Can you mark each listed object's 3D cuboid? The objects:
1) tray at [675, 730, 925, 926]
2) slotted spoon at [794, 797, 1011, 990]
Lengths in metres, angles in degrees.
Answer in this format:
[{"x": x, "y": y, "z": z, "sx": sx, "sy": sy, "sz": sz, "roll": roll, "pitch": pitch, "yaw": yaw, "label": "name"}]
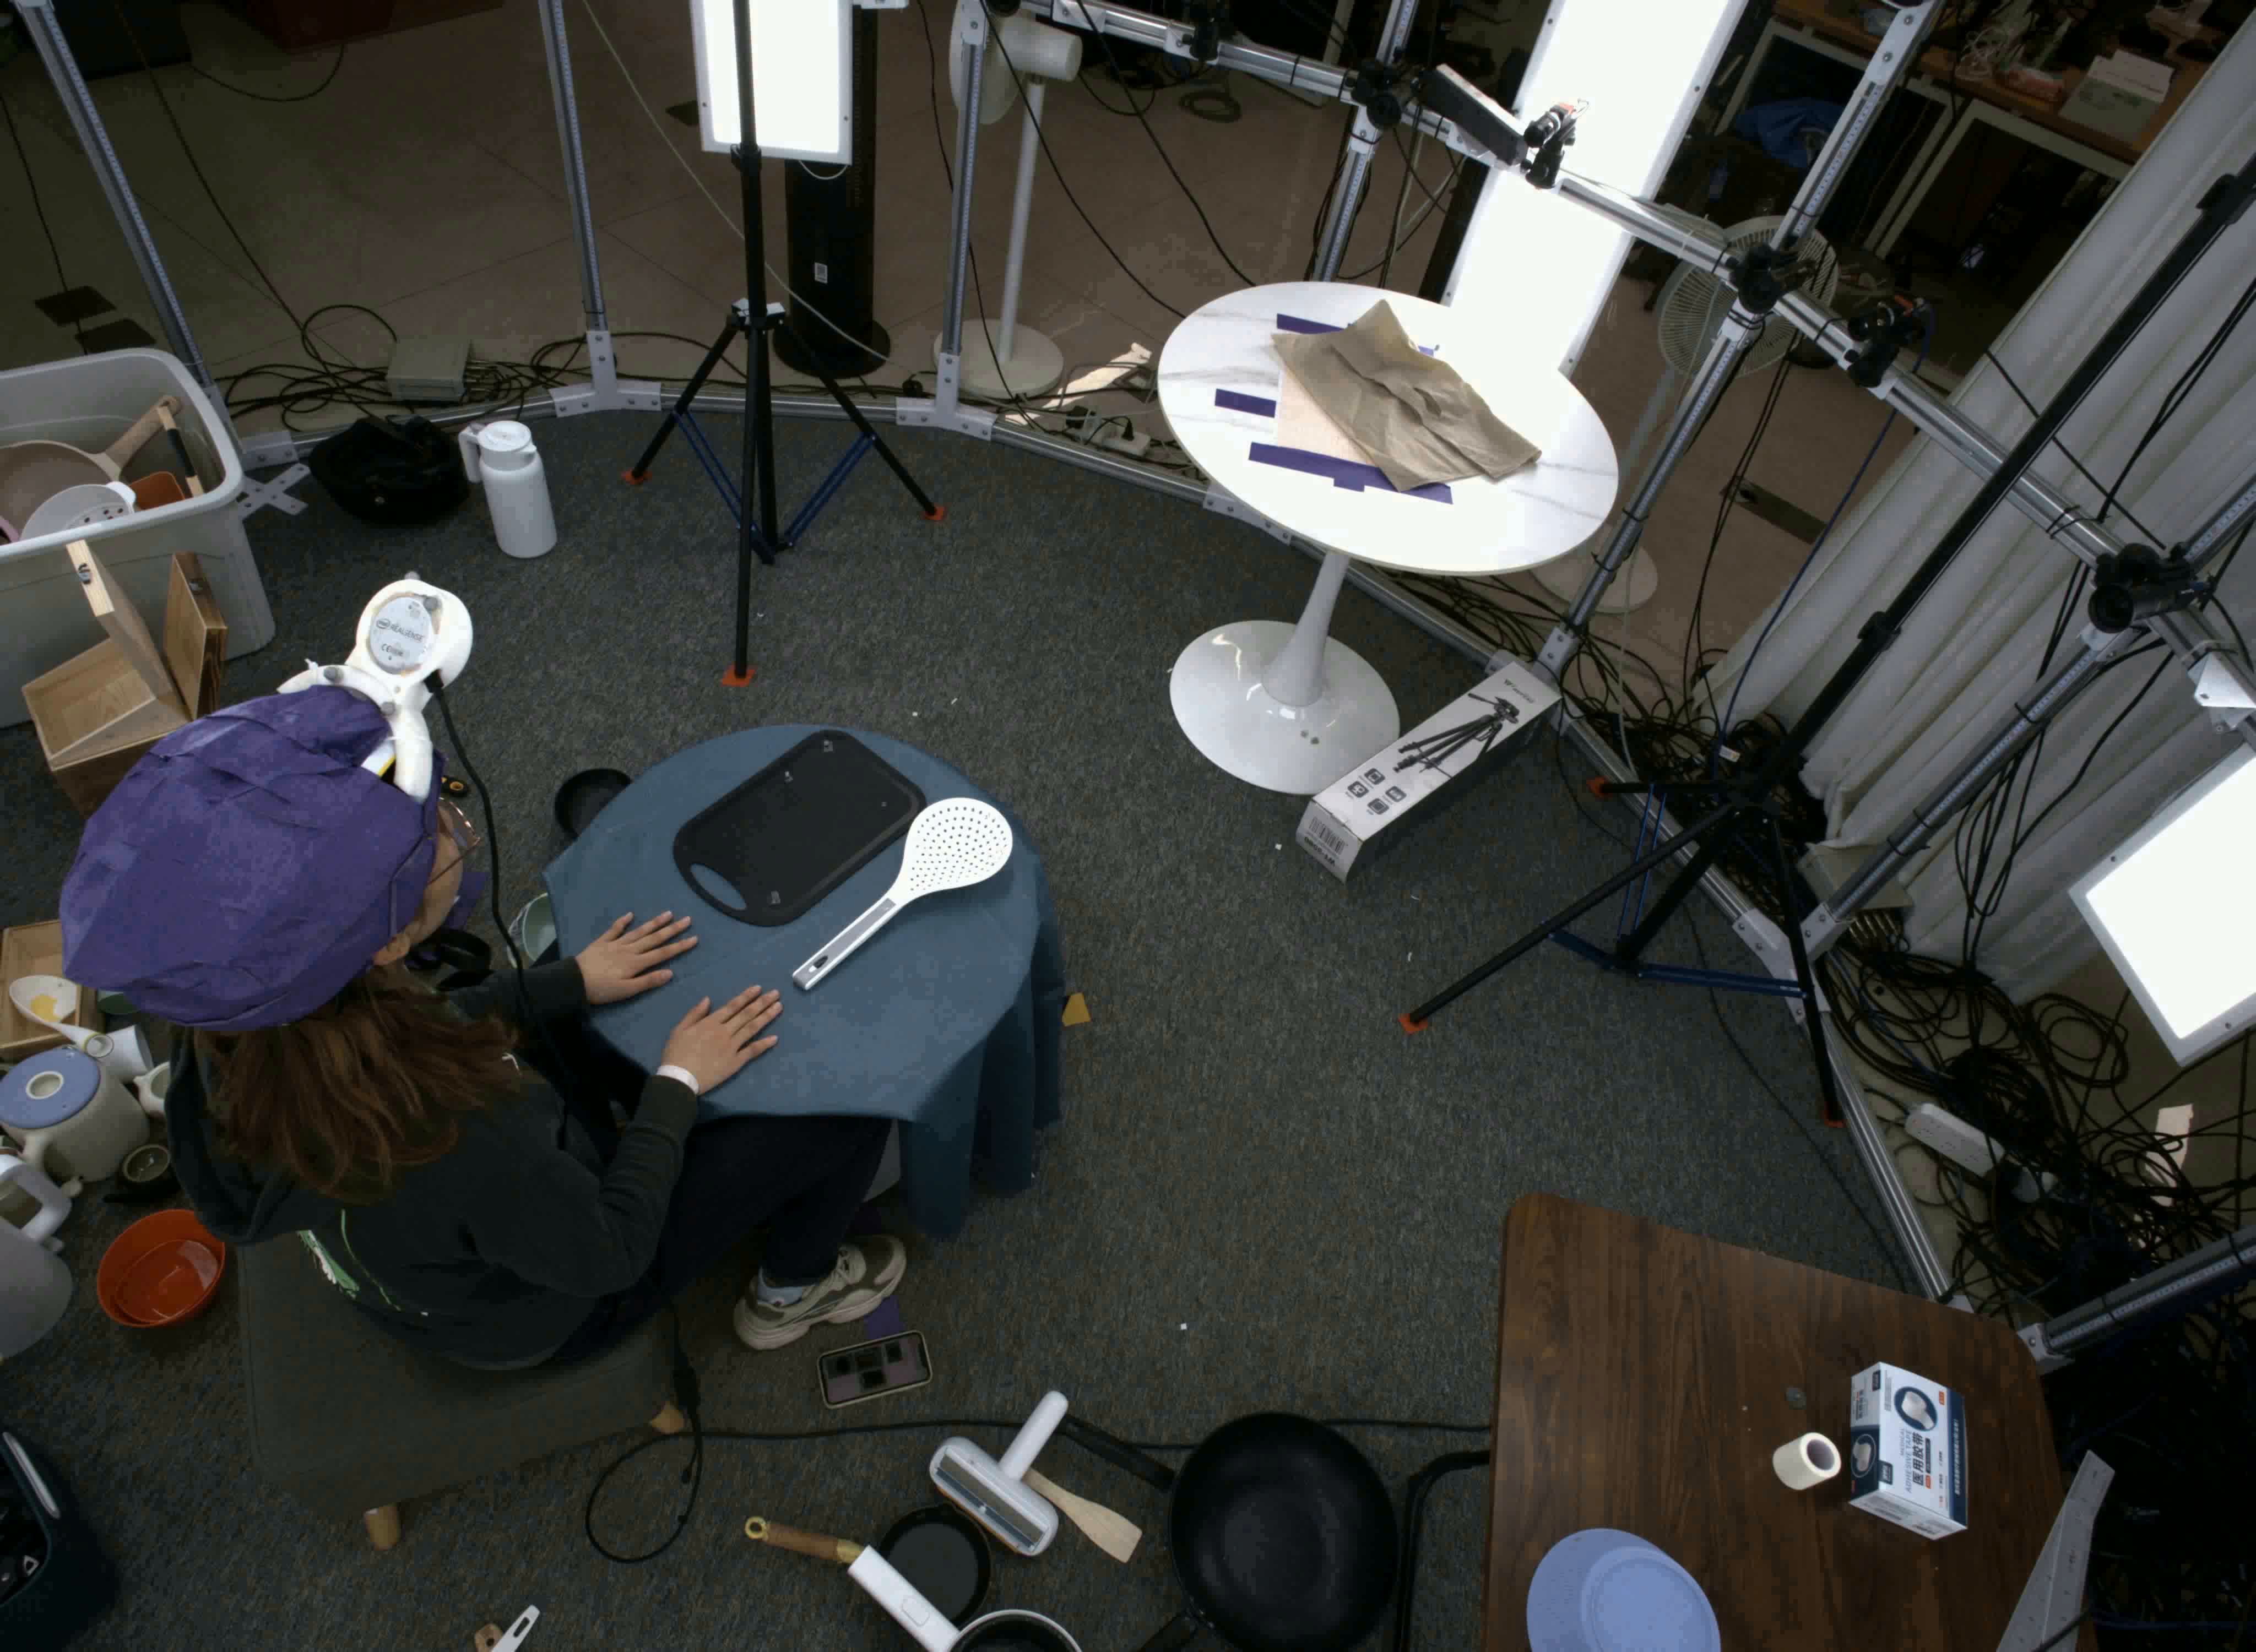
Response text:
[{"x": -0.438, "y": -0.002, "z": 1.723, "sx": 0.207, "sy": 0.010, "sz": 0.325, "roll": 37, "pitch": 54, "yaw": 14, "label": "tray"}, {"x": -0.291, "y": 0.086, "z": 1.670, "sx": 0.133, "sy": 0.047, "sz": 0.350, "roll": 37, "pitch": 55, "yaw": 17, "label": "slotted spoon"}]
